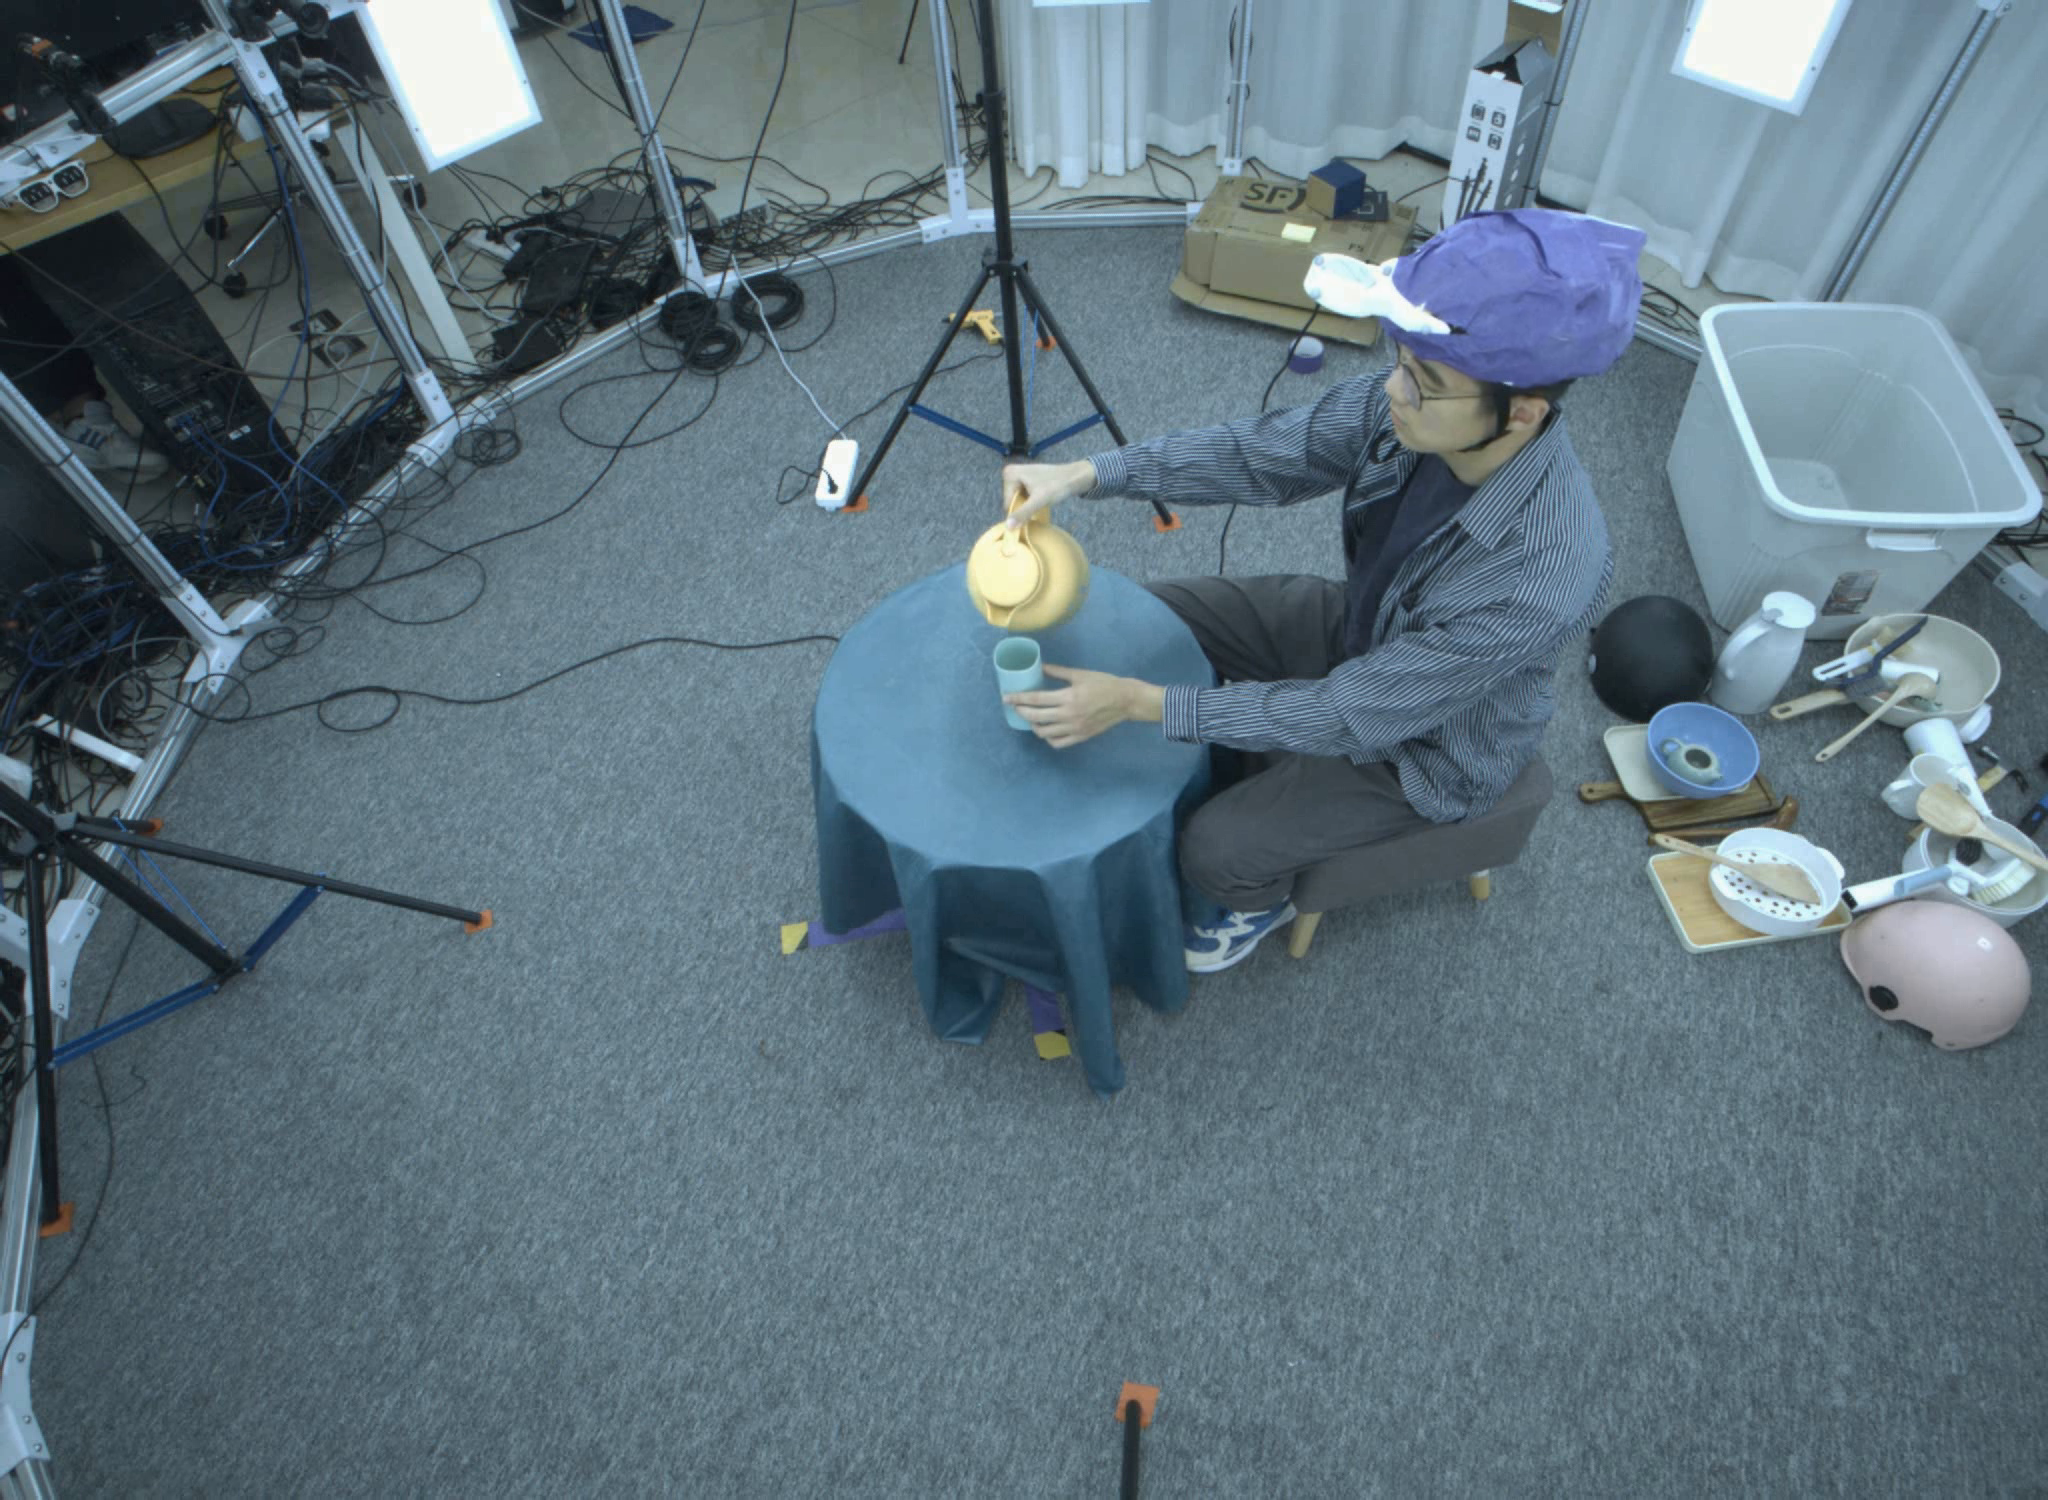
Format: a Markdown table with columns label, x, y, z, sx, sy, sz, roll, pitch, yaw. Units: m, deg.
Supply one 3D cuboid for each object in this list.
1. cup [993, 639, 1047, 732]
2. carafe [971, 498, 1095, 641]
| label | x | y | z | sx | sy | sz | roll | pitch | yaw |
| --- | --- | --- | --- | --- | --- | --- | --- | --- | --- |
| cup | -0.003 | -0.089 | 1.724 | 0.066 | 0.134 | 0.066 | -3 | 54 | 5 |
| carafe | 0.010 | -0.255 | 1.753 | 0.162 | 0.261 | 0.203 | 11 | 99 | 9 |
